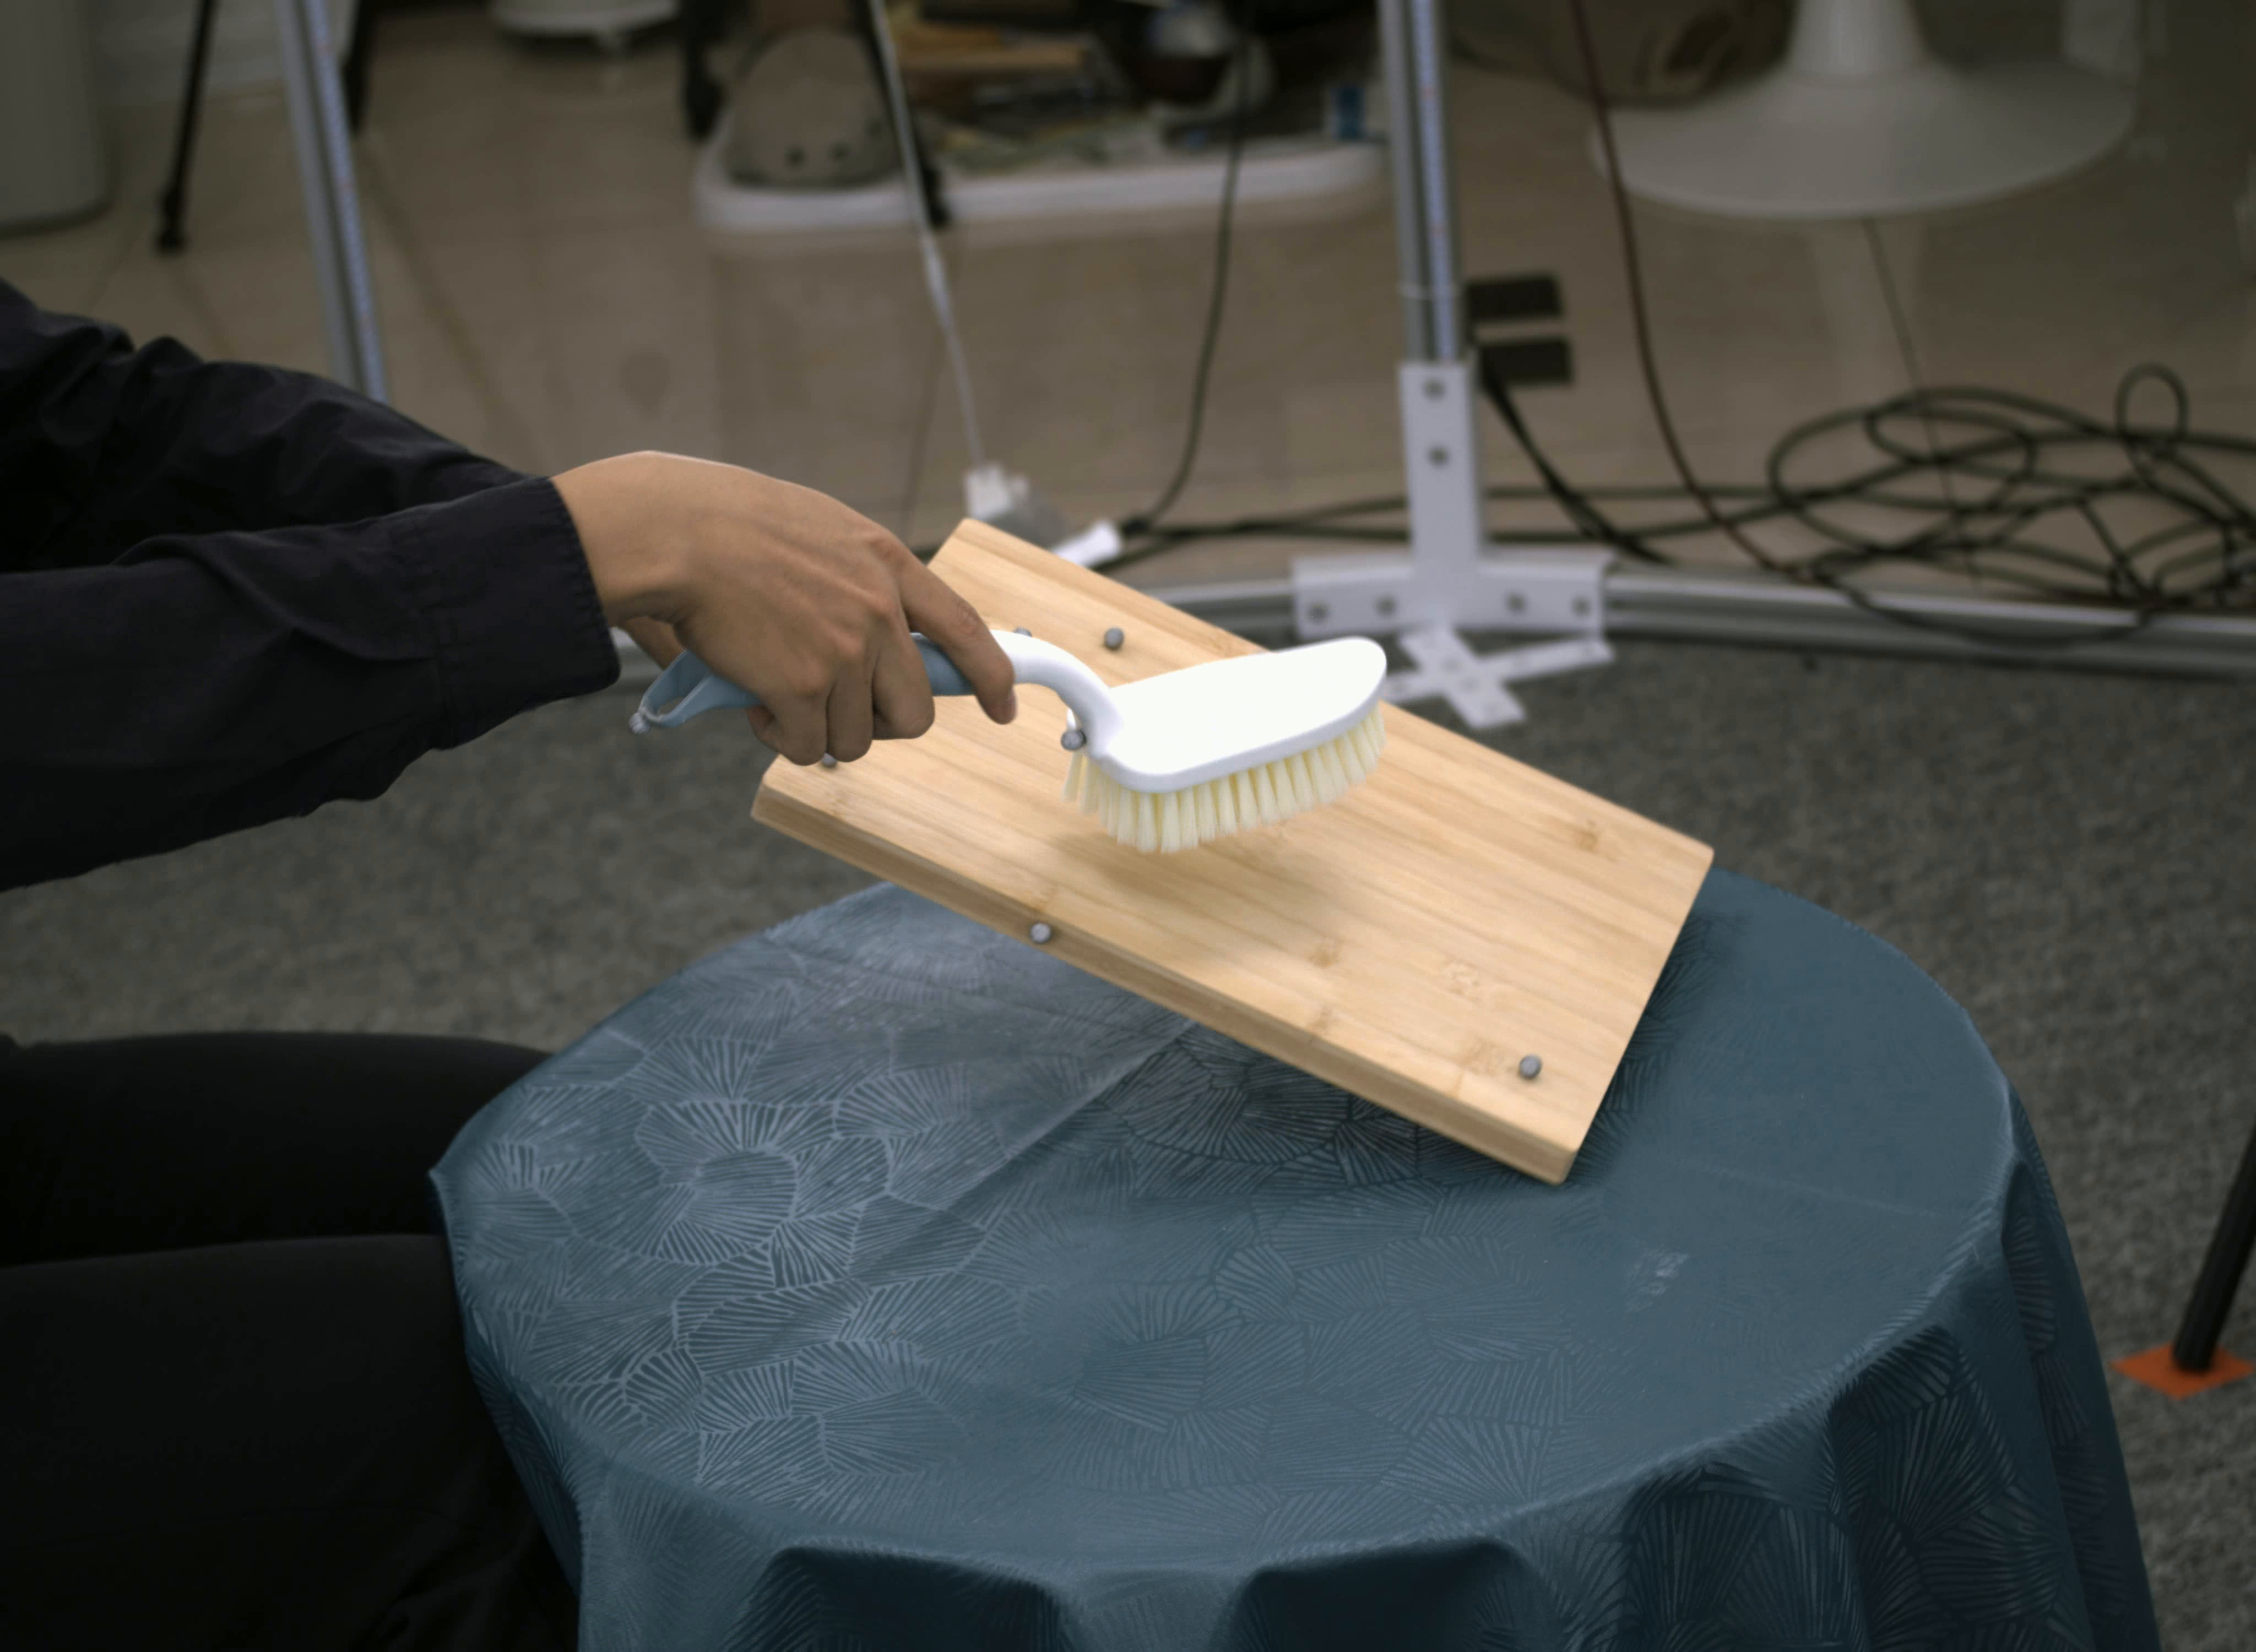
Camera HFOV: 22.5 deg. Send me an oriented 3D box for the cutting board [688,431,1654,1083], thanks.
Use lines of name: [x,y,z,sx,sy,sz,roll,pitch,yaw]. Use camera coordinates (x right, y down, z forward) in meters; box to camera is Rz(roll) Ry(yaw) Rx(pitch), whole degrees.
cutting board: [0.023,-0.032,2.252,0.348,0.024,0.247,23,34,4]

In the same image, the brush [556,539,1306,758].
brush: [-0.074,-0.061,2.121,0.325,0.084,0.083,-5,-8,-33]
